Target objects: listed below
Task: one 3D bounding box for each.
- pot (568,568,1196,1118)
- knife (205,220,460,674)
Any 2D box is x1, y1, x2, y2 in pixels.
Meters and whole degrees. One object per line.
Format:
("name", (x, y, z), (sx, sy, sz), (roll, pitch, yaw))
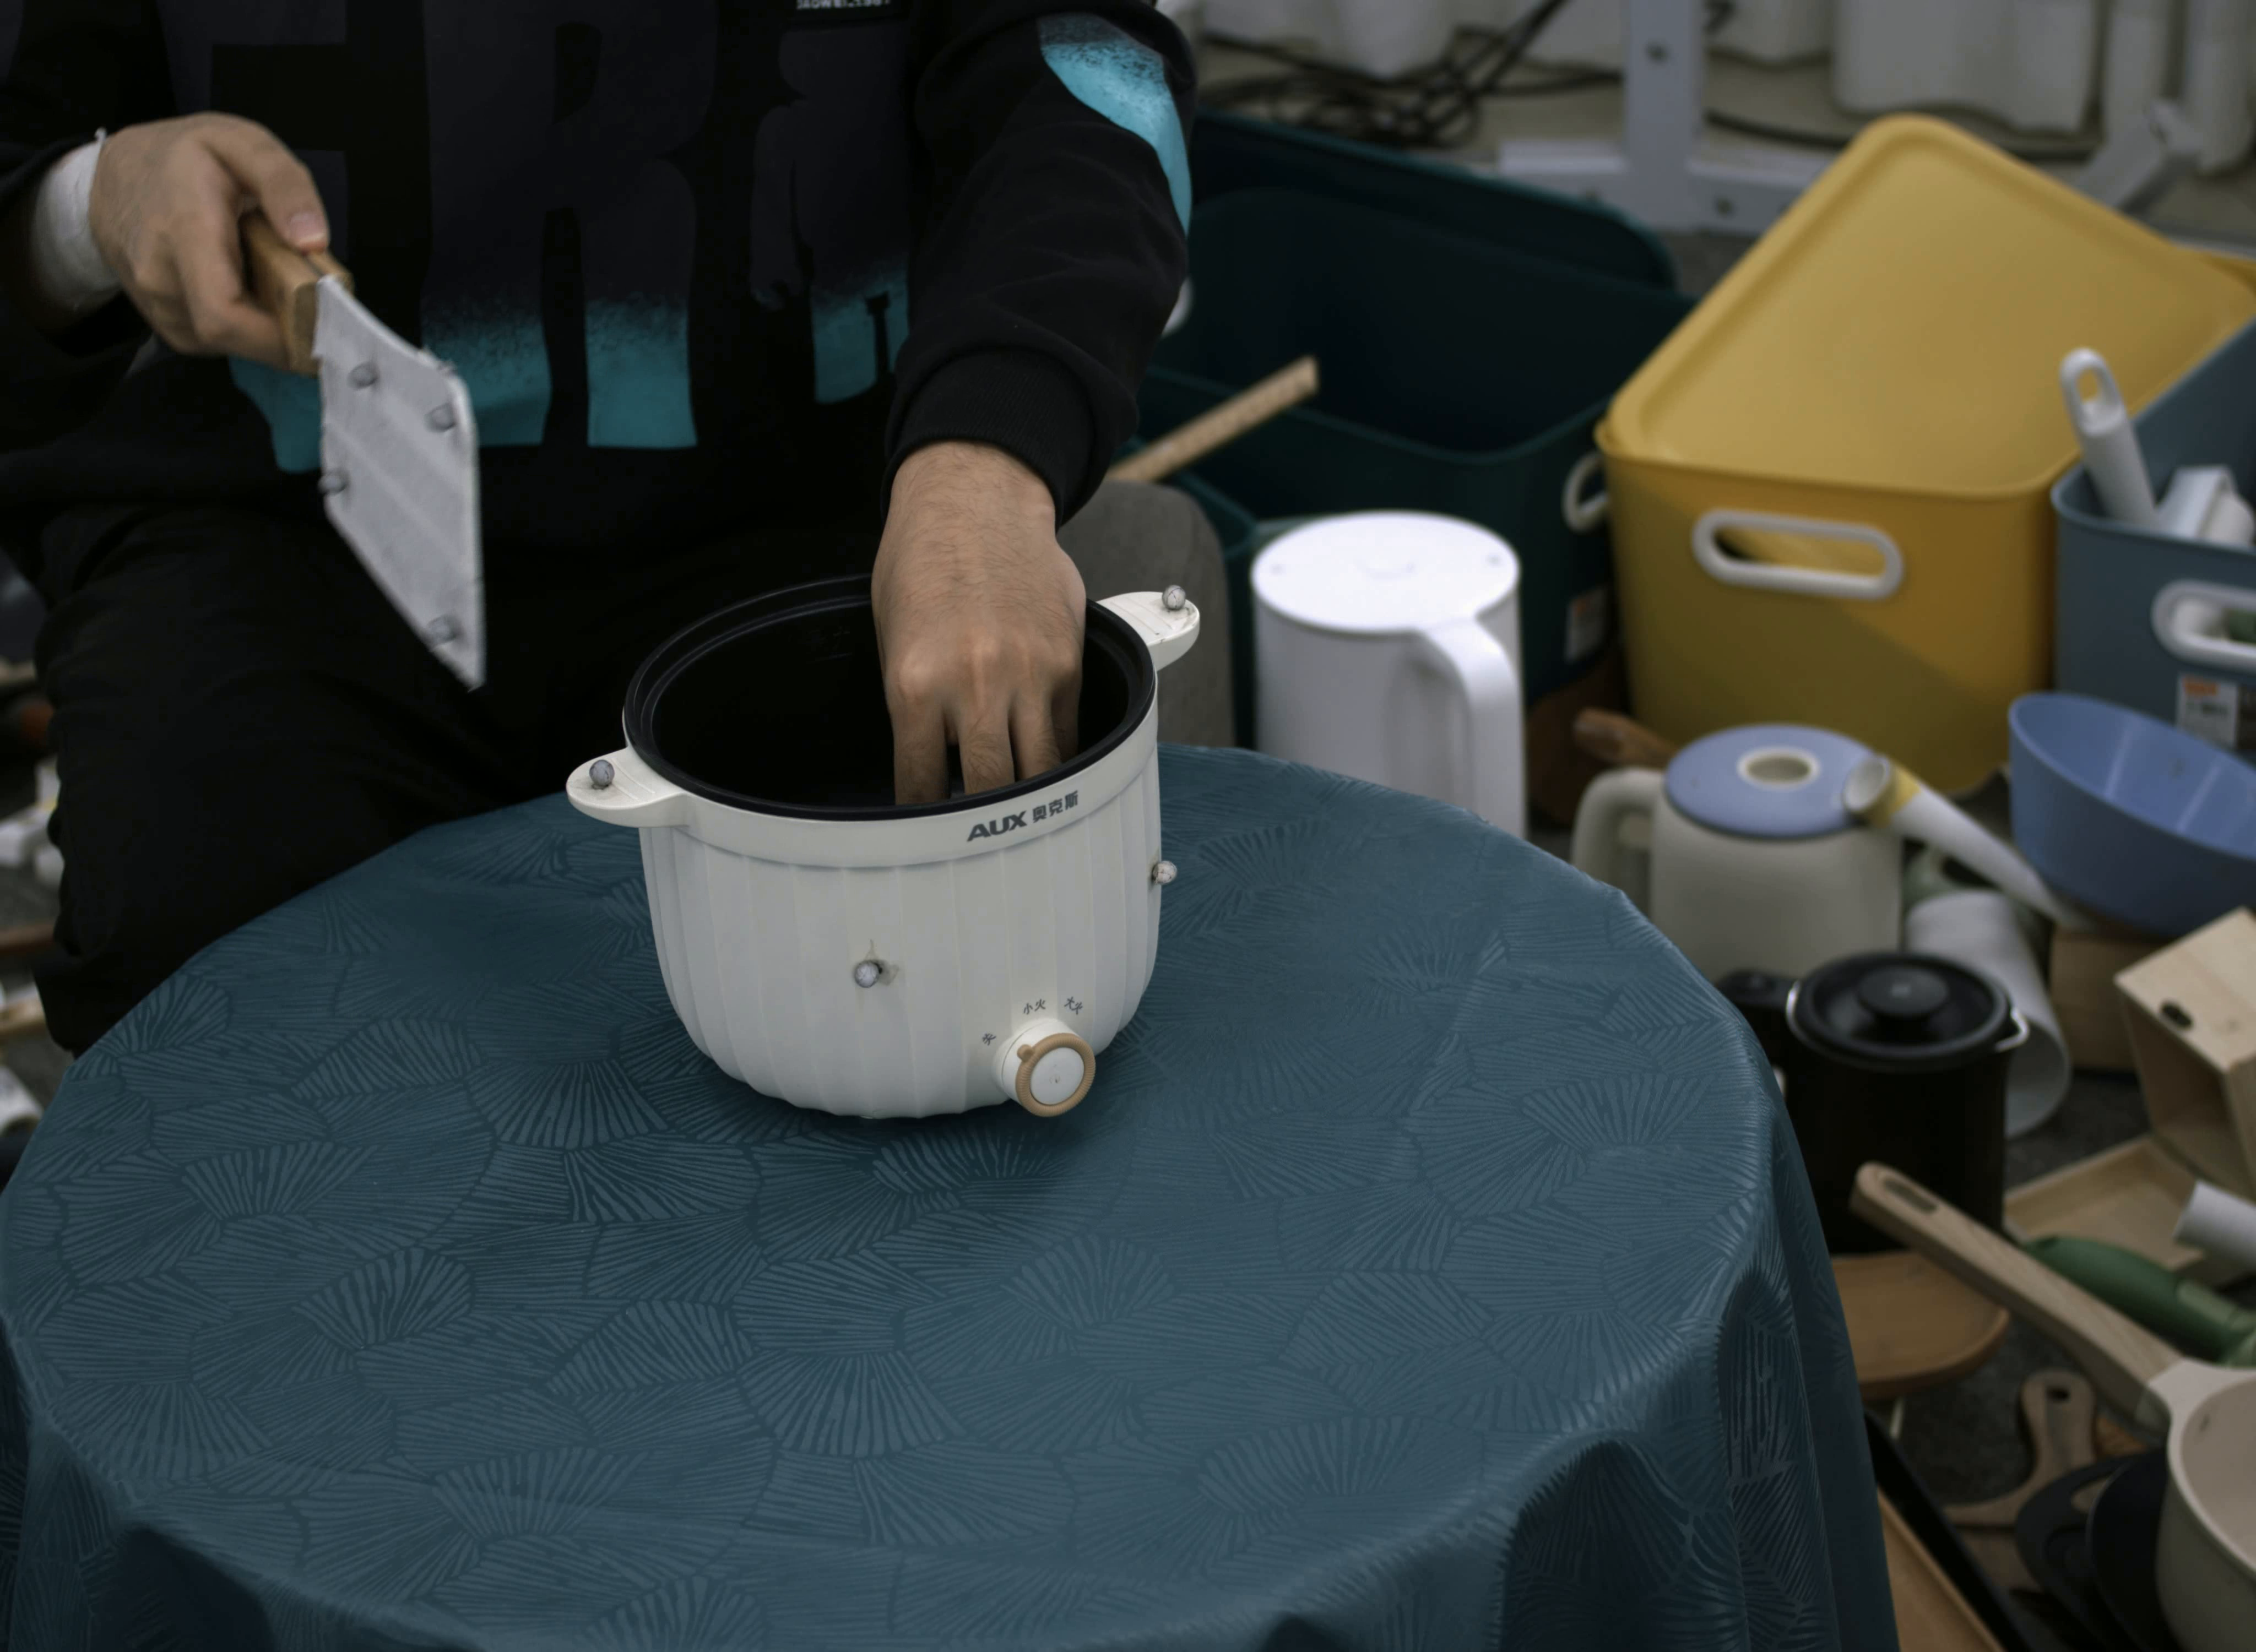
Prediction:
("pot", (-0.073, 0.012, 1.931), (0.242, 0.141, 0.191), (-19, 28, -26))
("knife", (-0.266, -0.144, 1.902), (0.022, 0.113, 0.317), (-5, 25, -21))
